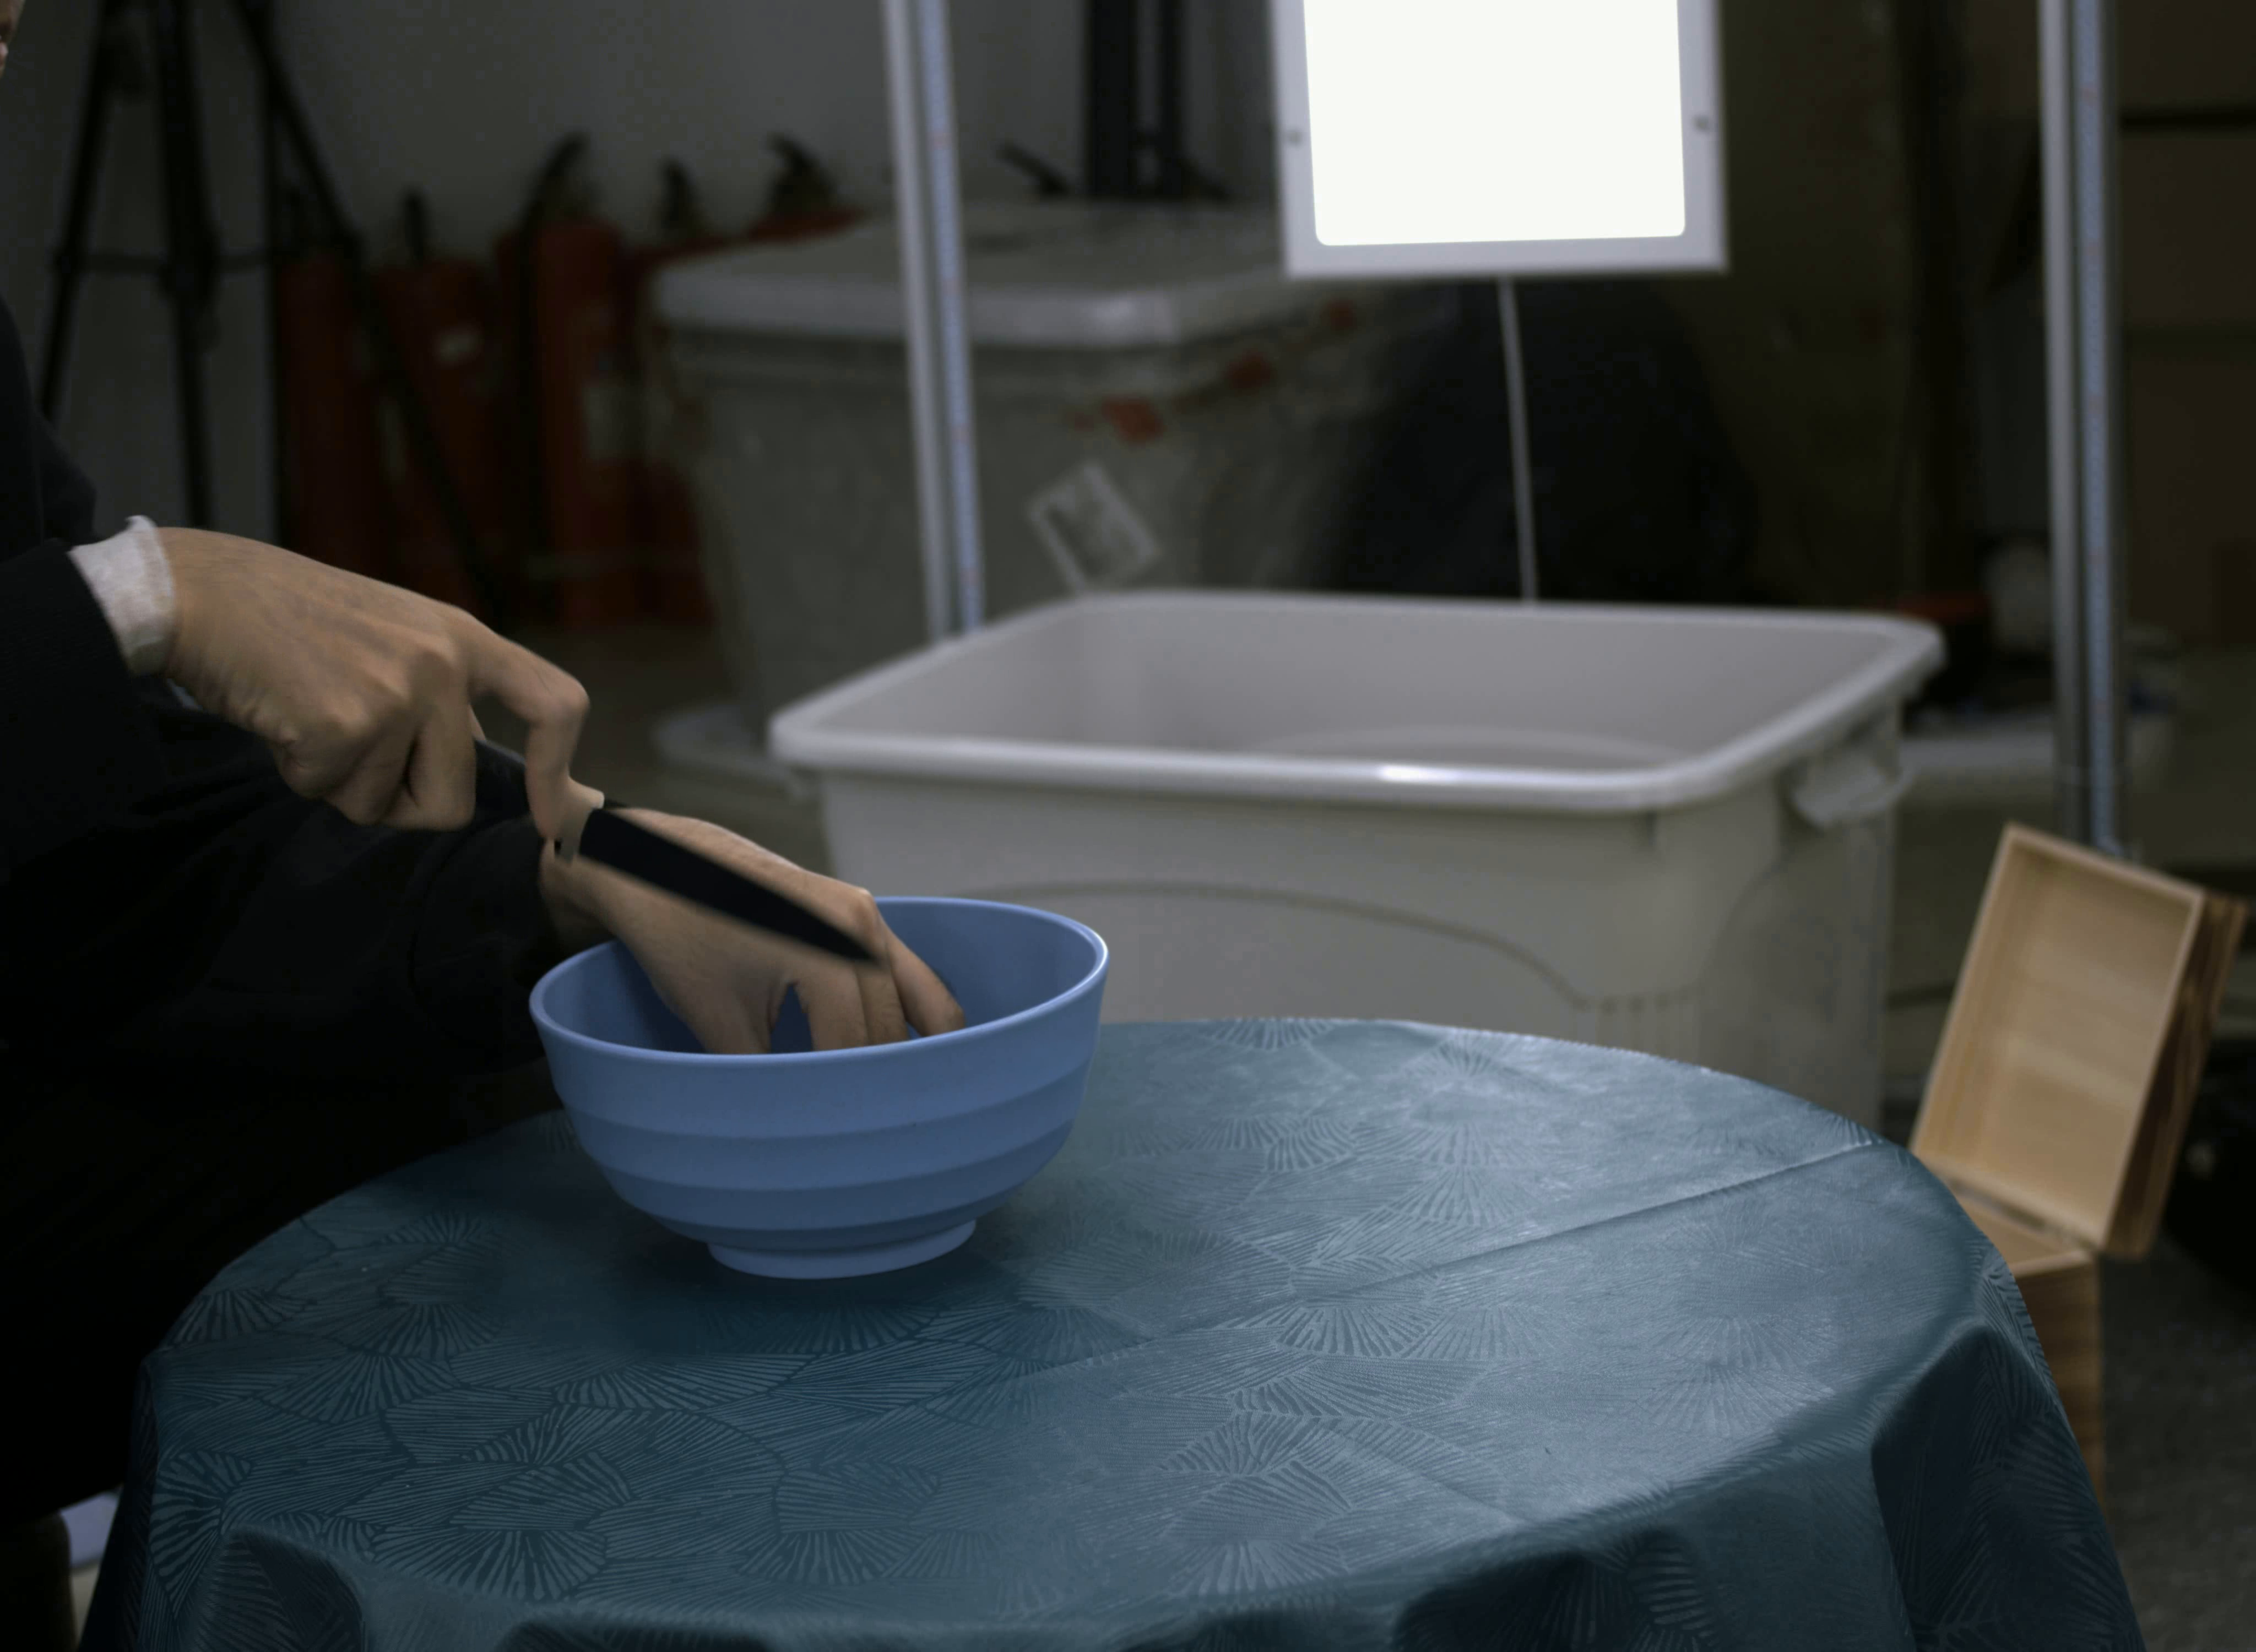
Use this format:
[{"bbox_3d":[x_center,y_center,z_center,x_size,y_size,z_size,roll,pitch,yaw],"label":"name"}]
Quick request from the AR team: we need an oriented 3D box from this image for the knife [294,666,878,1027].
[{"bbox_3d":[-0.175,0.008,1.809,0.223,0.026,0.017,29,20,-13],"label":"knife"}]

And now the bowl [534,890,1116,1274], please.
[{"bbox_3d":[-0.101,0.092,1.864,0.196,0.096,0.196,-2,14,-1],"label":"bowl"}]
